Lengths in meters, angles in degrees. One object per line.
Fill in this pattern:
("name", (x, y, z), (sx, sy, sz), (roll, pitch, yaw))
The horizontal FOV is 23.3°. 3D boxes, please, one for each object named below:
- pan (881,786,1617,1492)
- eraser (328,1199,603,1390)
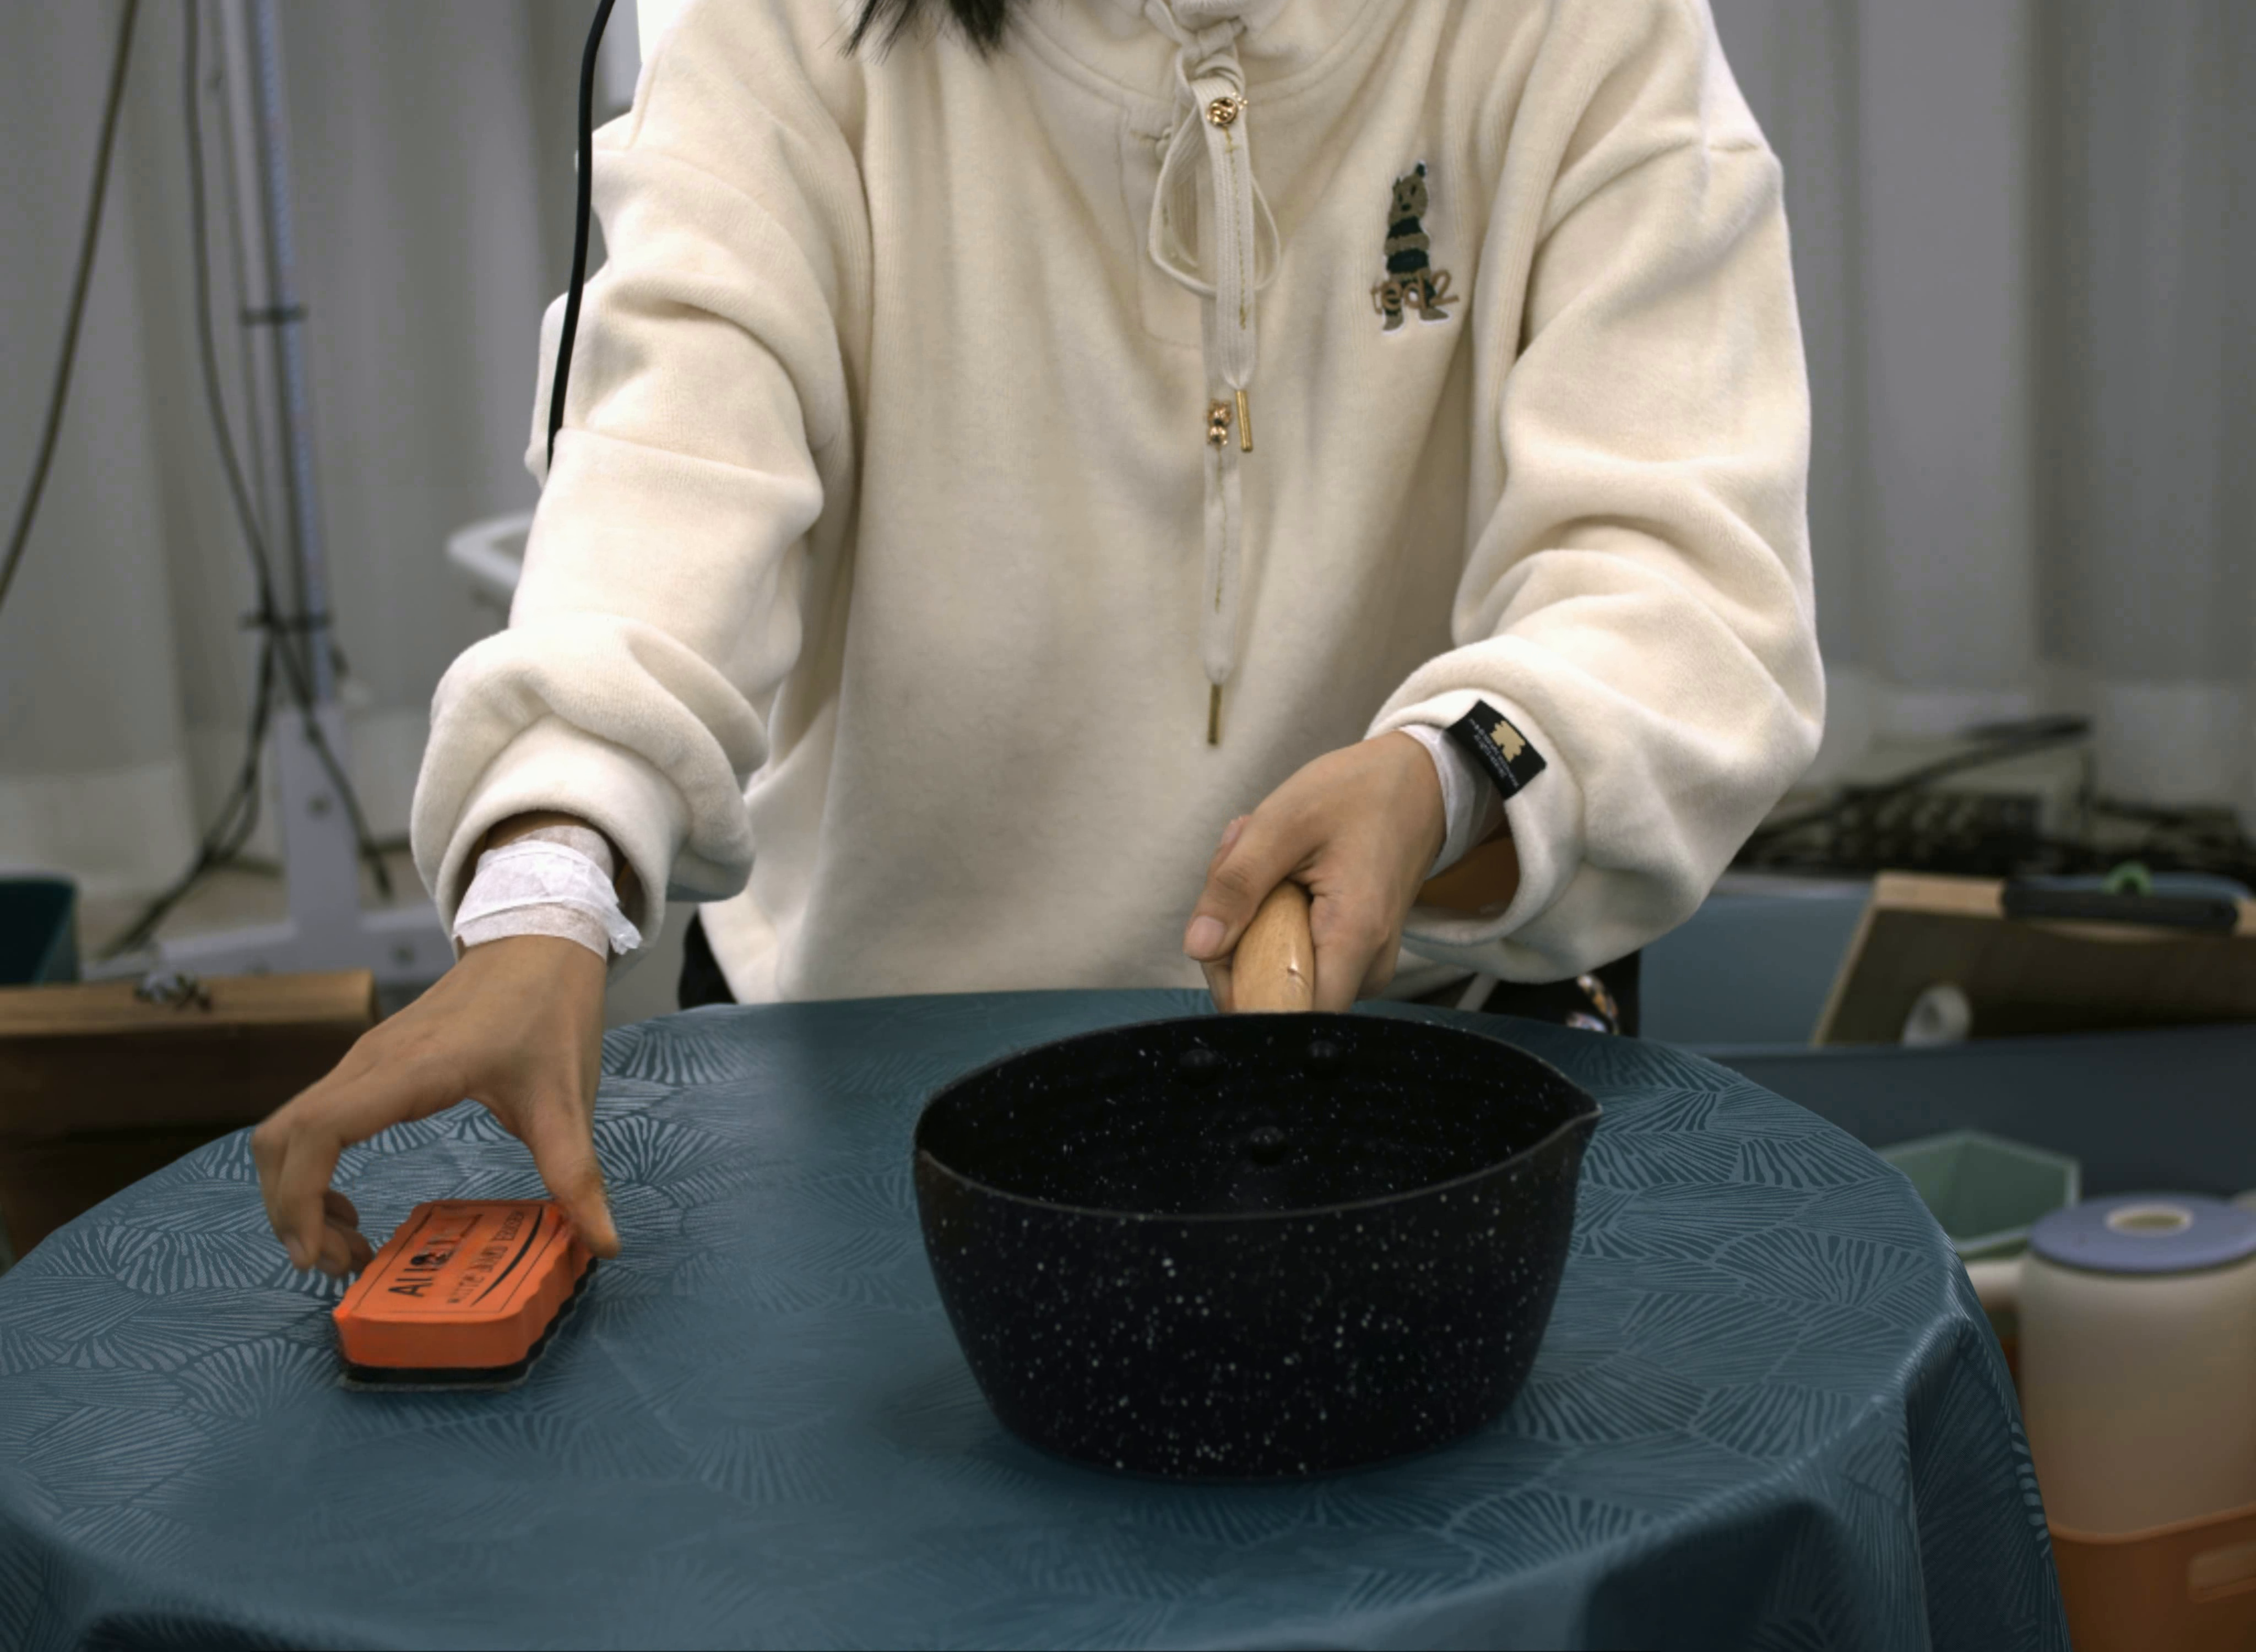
("pan", (0.038, 0.086, 1.604), (0.207, 0.108, 0.345), (-3, 16, 4))
("eraser", (-0.195, 0.138, 1.619), (0.059, 0.023, 0.108), (-2, 15, 10))
